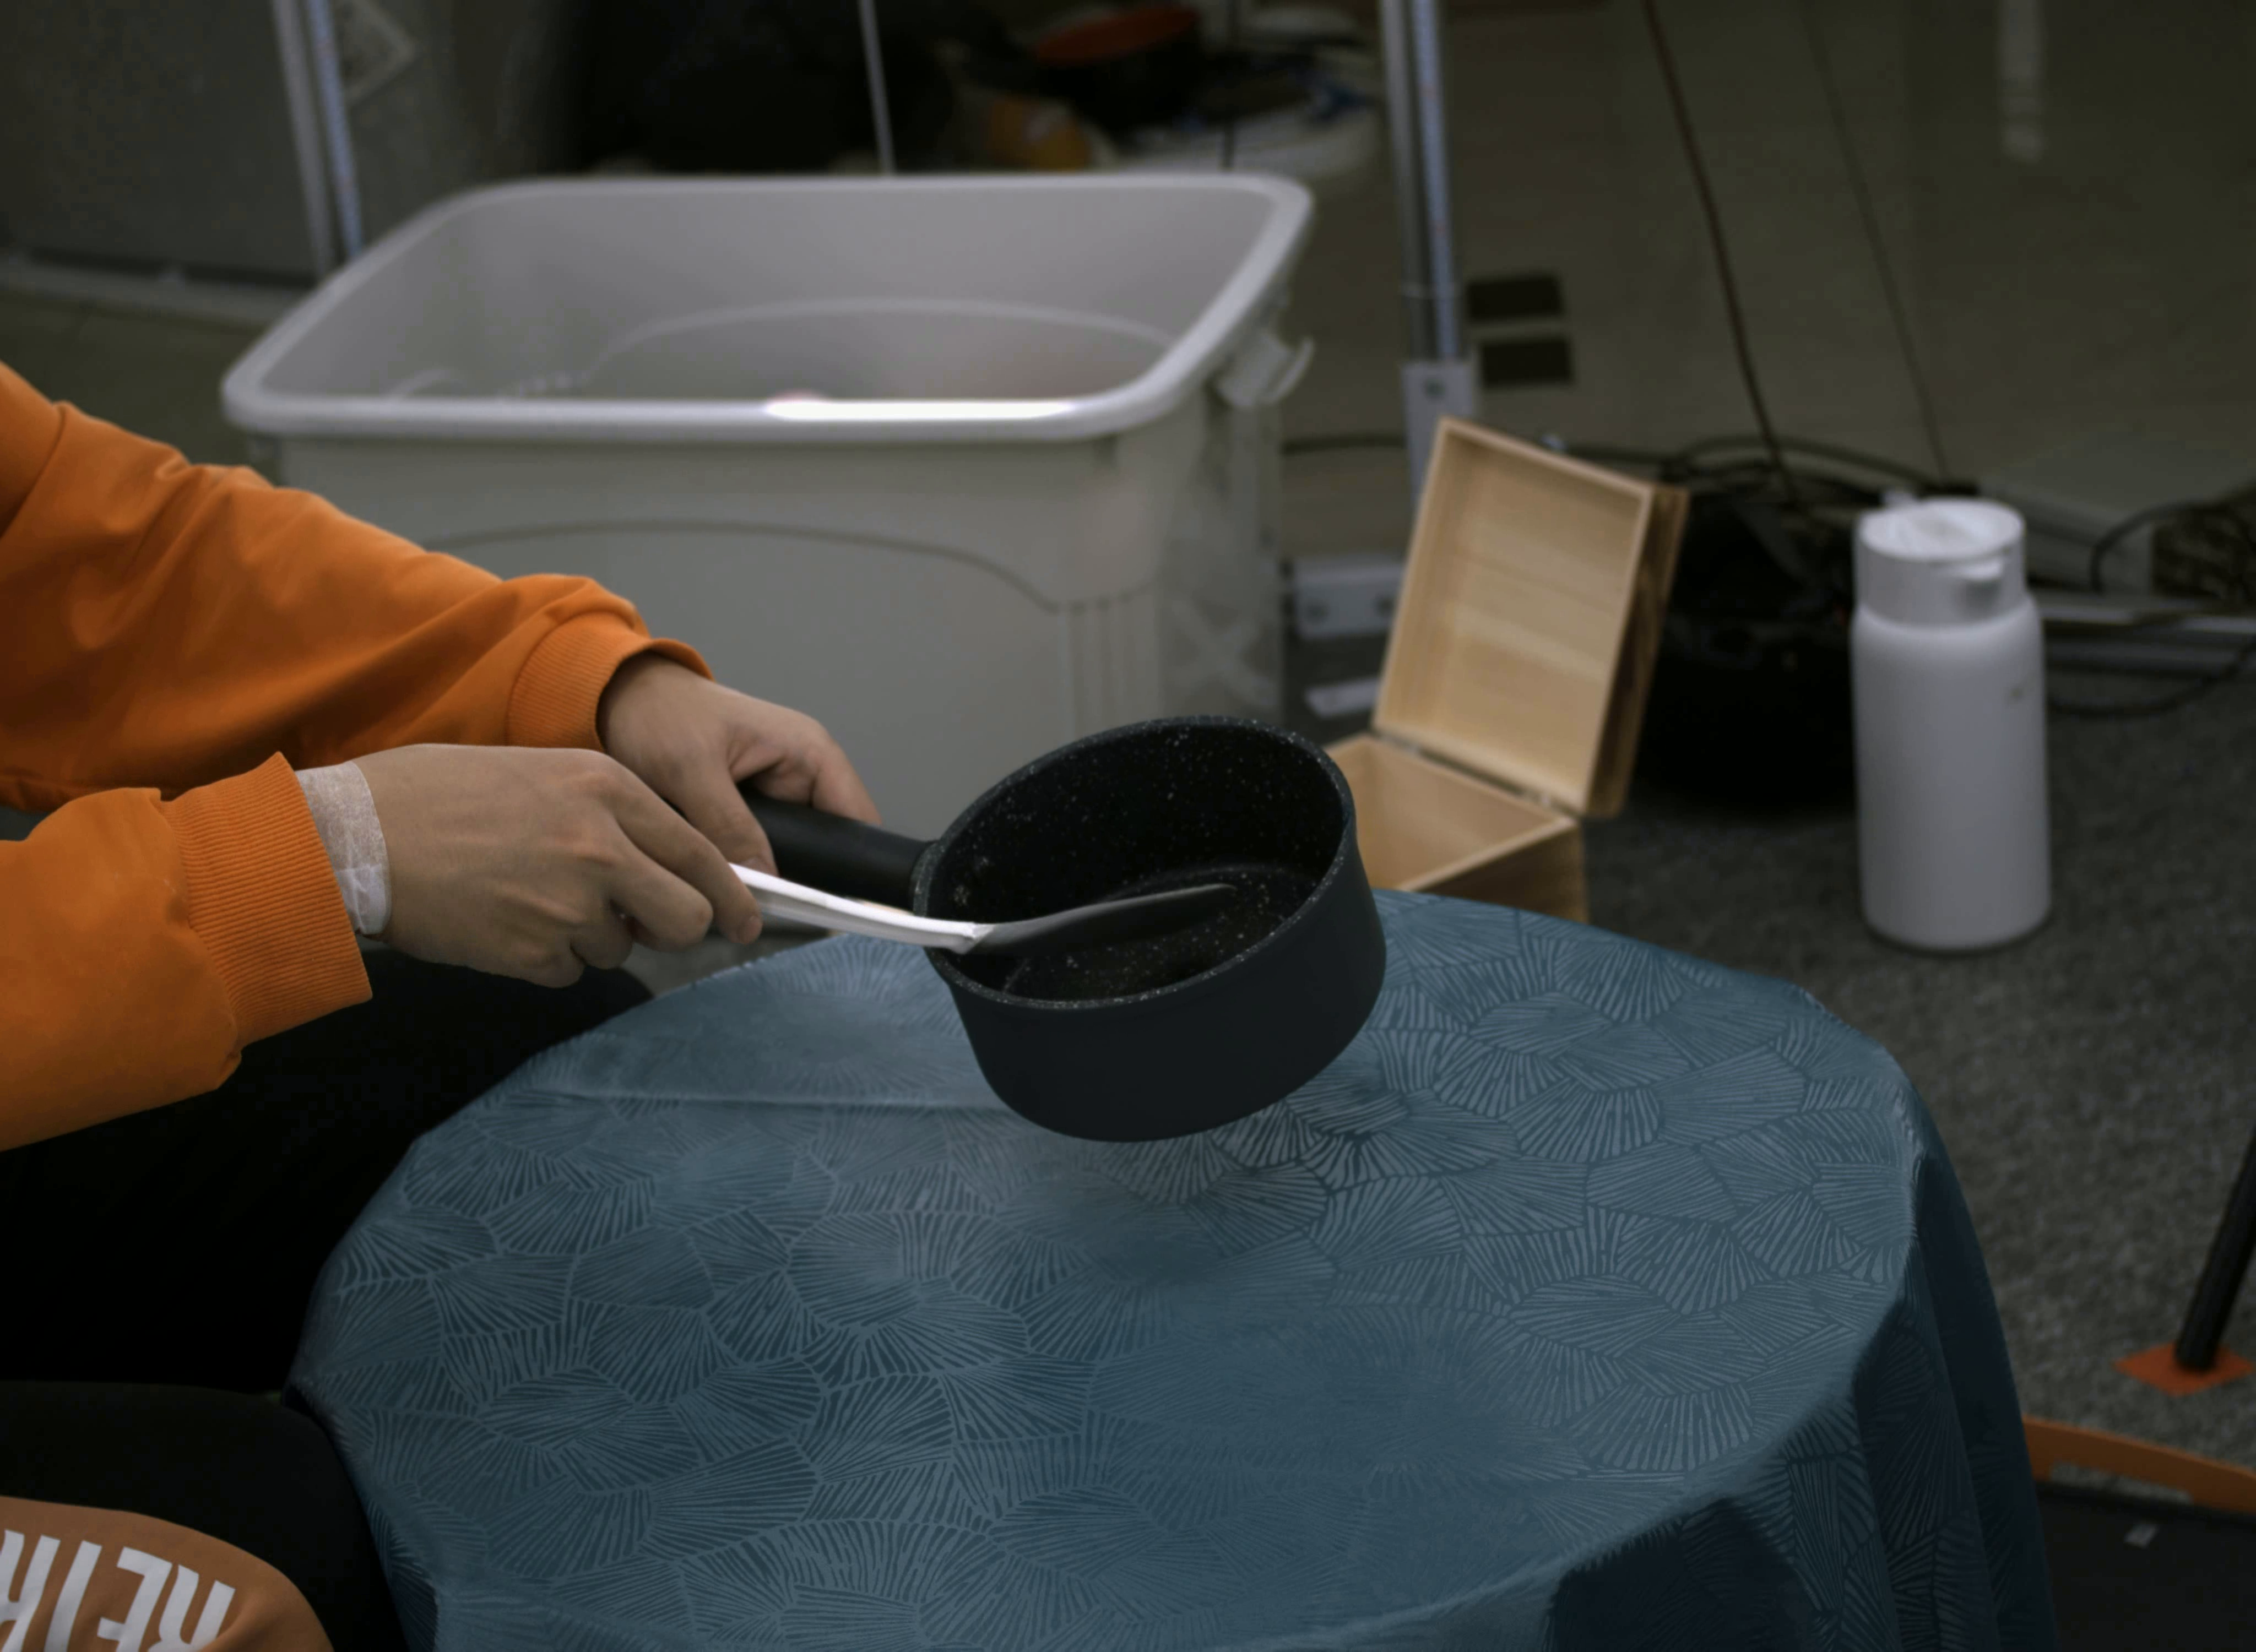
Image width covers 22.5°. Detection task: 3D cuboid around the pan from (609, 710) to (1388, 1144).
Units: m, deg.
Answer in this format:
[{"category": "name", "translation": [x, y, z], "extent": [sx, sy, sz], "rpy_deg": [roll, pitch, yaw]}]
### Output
[{"category": "pan", "translation": [-0.056, 0.028, 2.182], "extent": [0.327, 0.088, 0.169], "rpy_deg": [10, 44, 31]}]

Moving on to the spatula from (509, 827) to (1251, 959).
[{"category": "spatula", "translation": [-0.090, 0.028, 2.097], "extent": [0.288, 0.059, 0.032], "rpy_deg": [5, 63, -26]}]
